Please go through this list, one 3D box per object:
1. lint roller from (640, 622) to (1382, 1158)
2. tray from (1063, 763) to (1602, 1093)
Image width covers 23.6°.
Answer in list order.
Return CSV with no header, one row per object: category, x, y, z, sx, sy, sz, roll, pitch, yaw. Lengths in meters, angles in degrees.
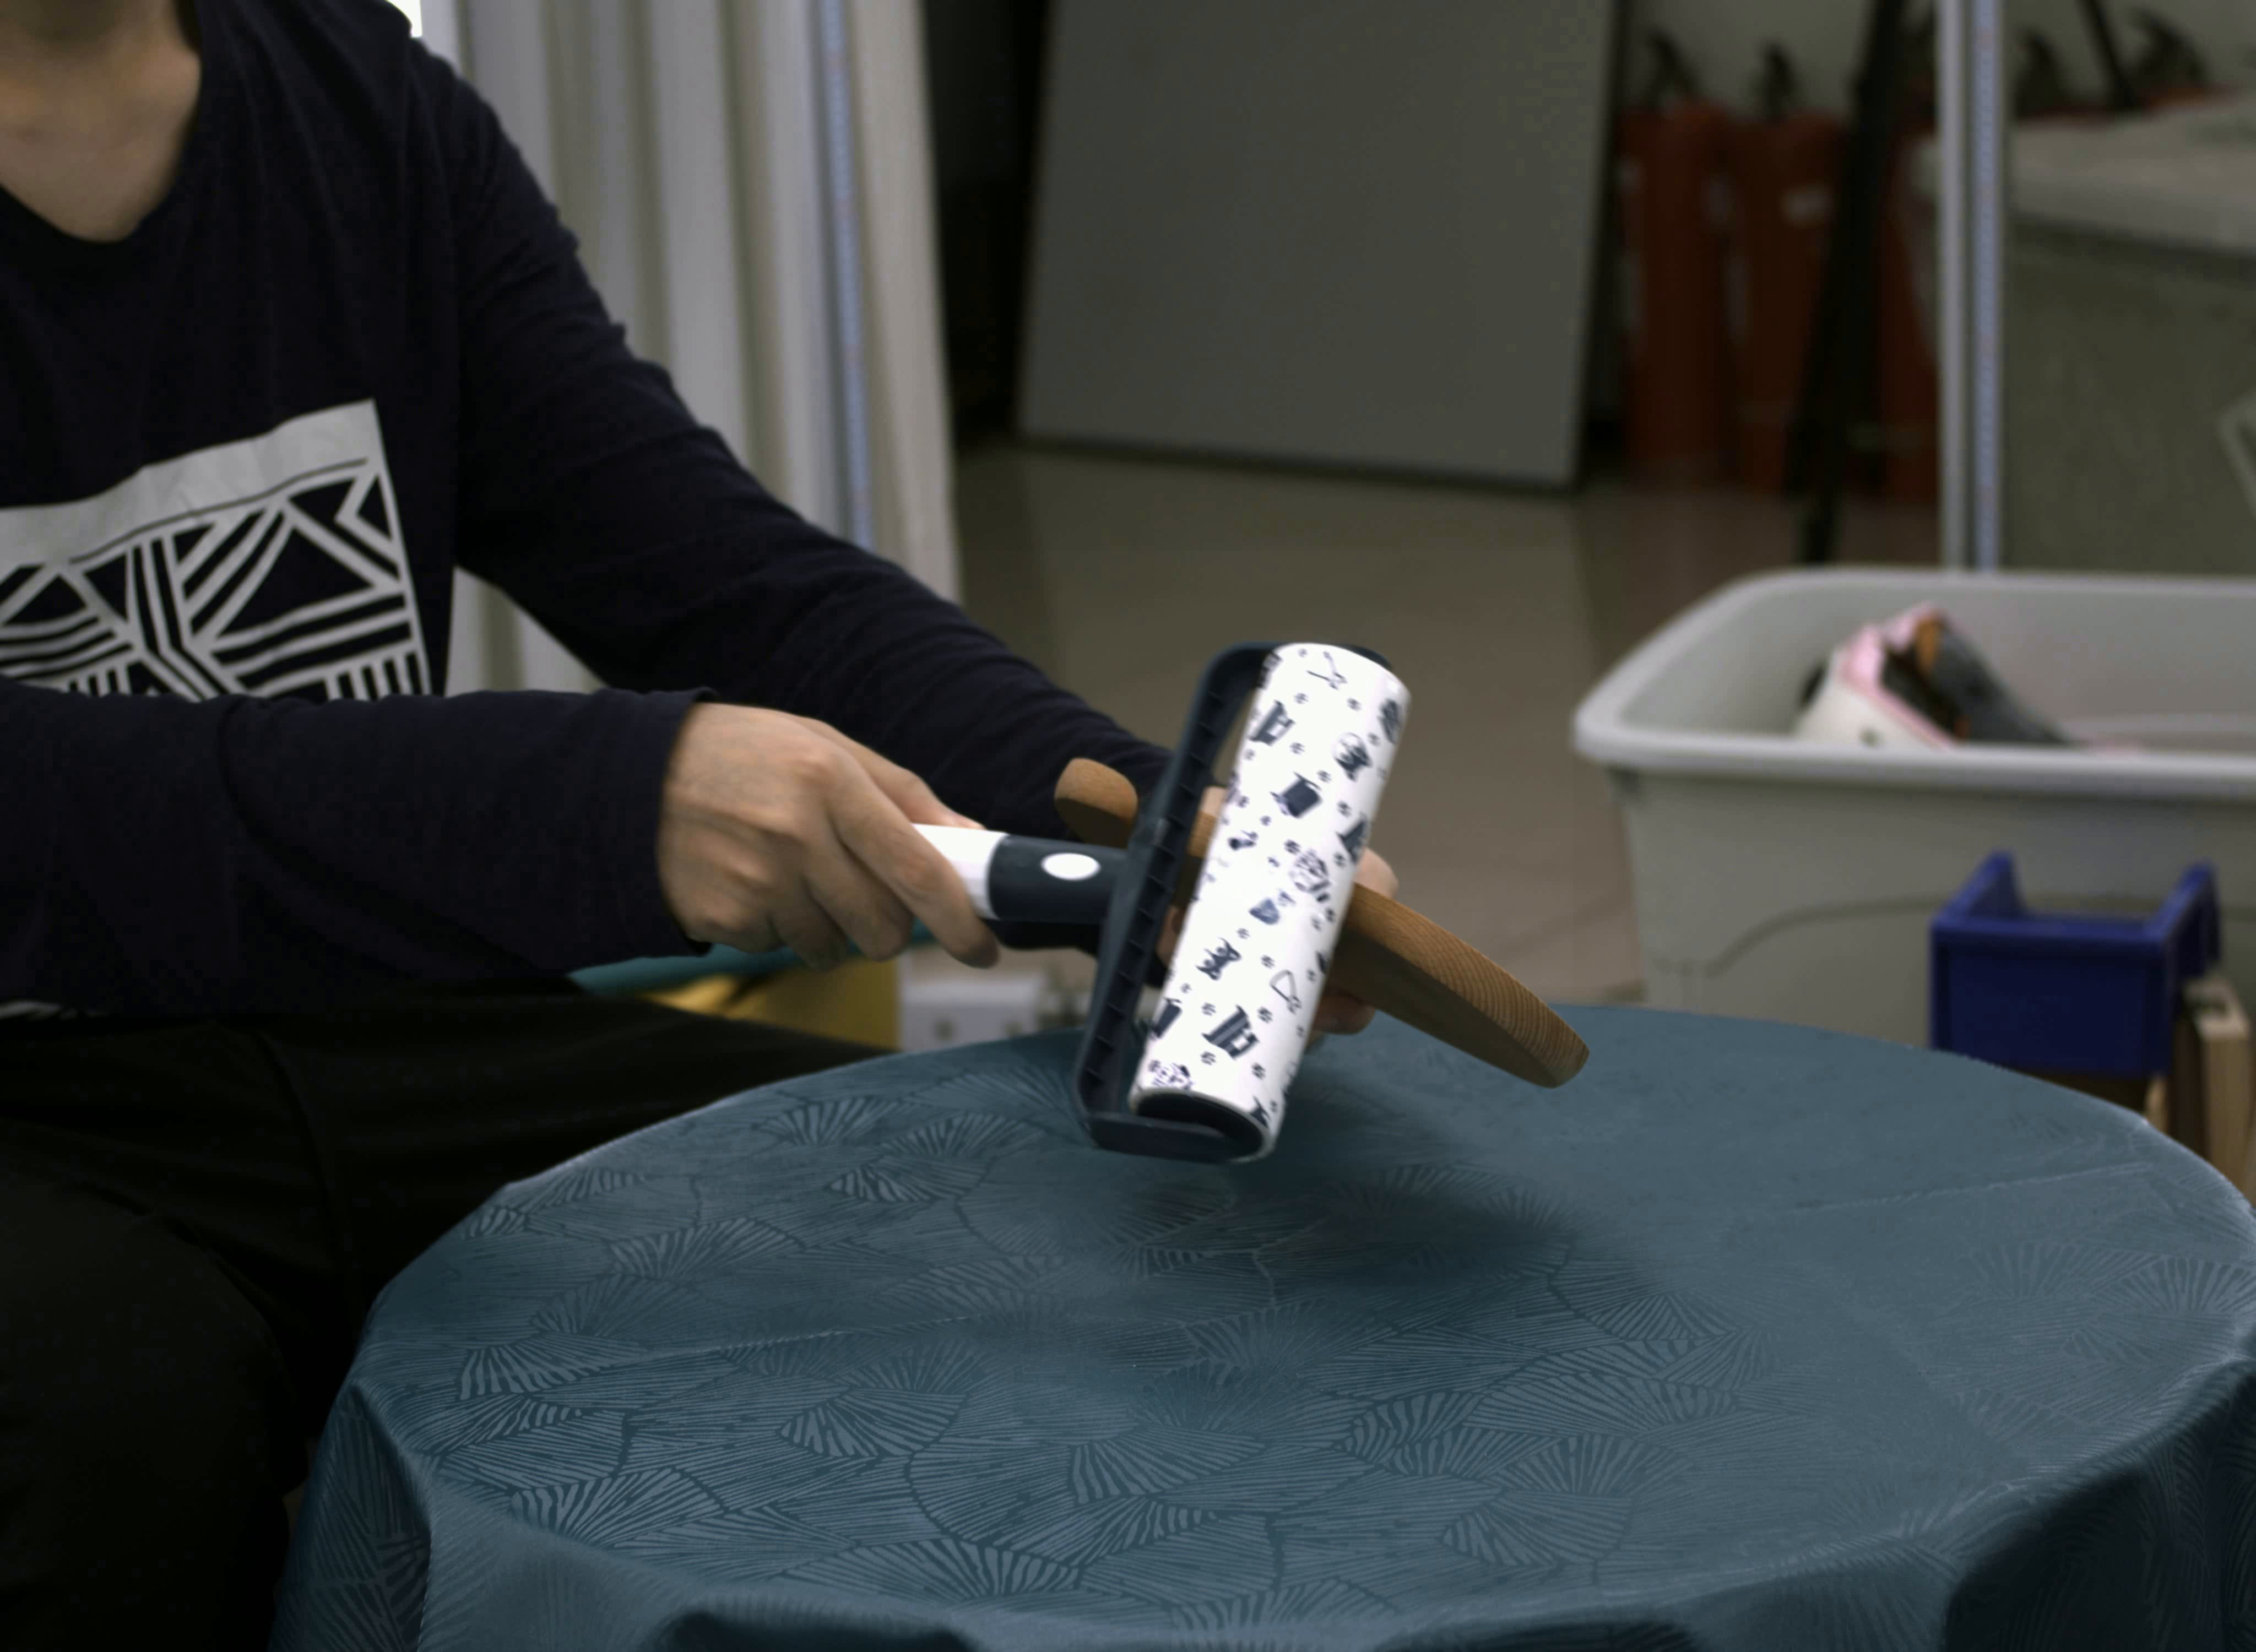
lint roller,-0.051,0.014,1.702,0.247,0.177,0.050,3,-28,27
tray,0.062,0.033,1.741,0.234,0.020,0.100,26,-11,47
